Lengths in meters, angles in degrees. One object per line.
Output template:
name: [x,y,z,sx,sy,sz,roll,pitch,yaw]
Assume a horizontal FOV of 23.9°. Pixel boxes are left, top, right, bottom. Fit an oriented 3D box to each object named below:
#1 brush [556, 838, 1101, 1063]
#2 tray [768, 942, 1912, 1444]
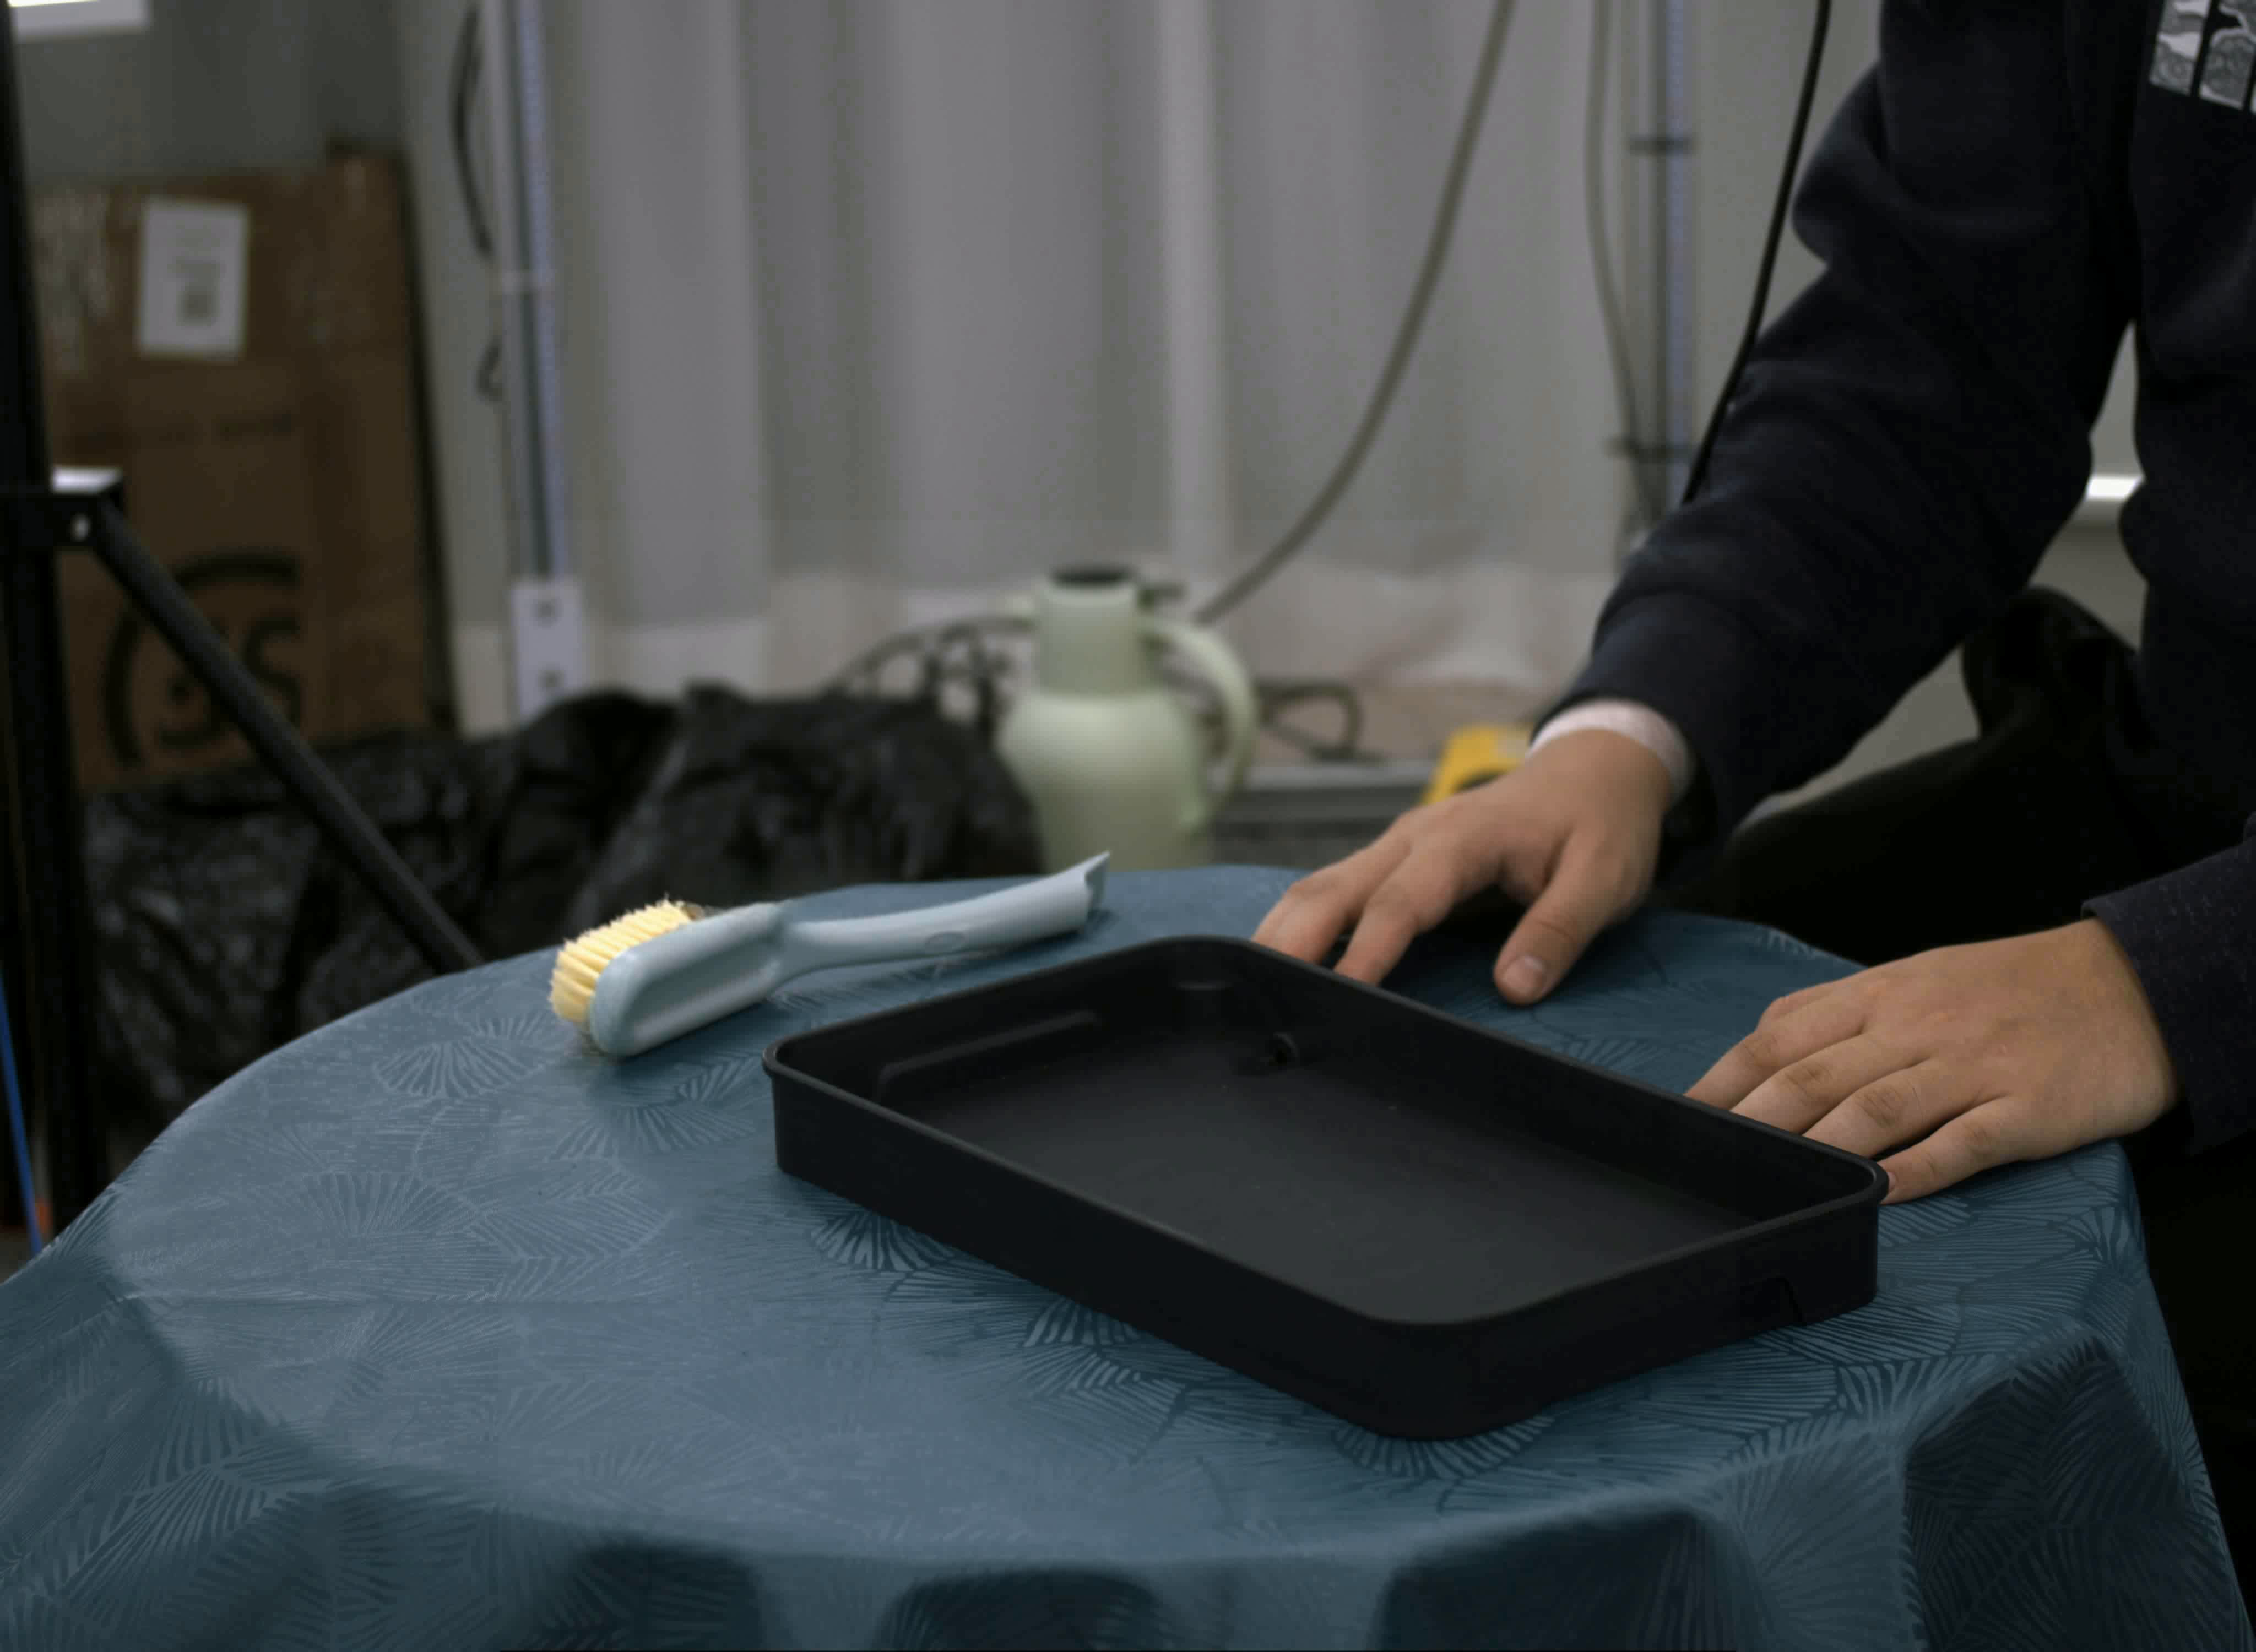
brush: [-0.094,0.033,1.764,0.223,0.038,0.051,-16,28,-39]
tray: [0.054,0.099,1.517,0.180,0.037,0.325,-13,19,-36]
